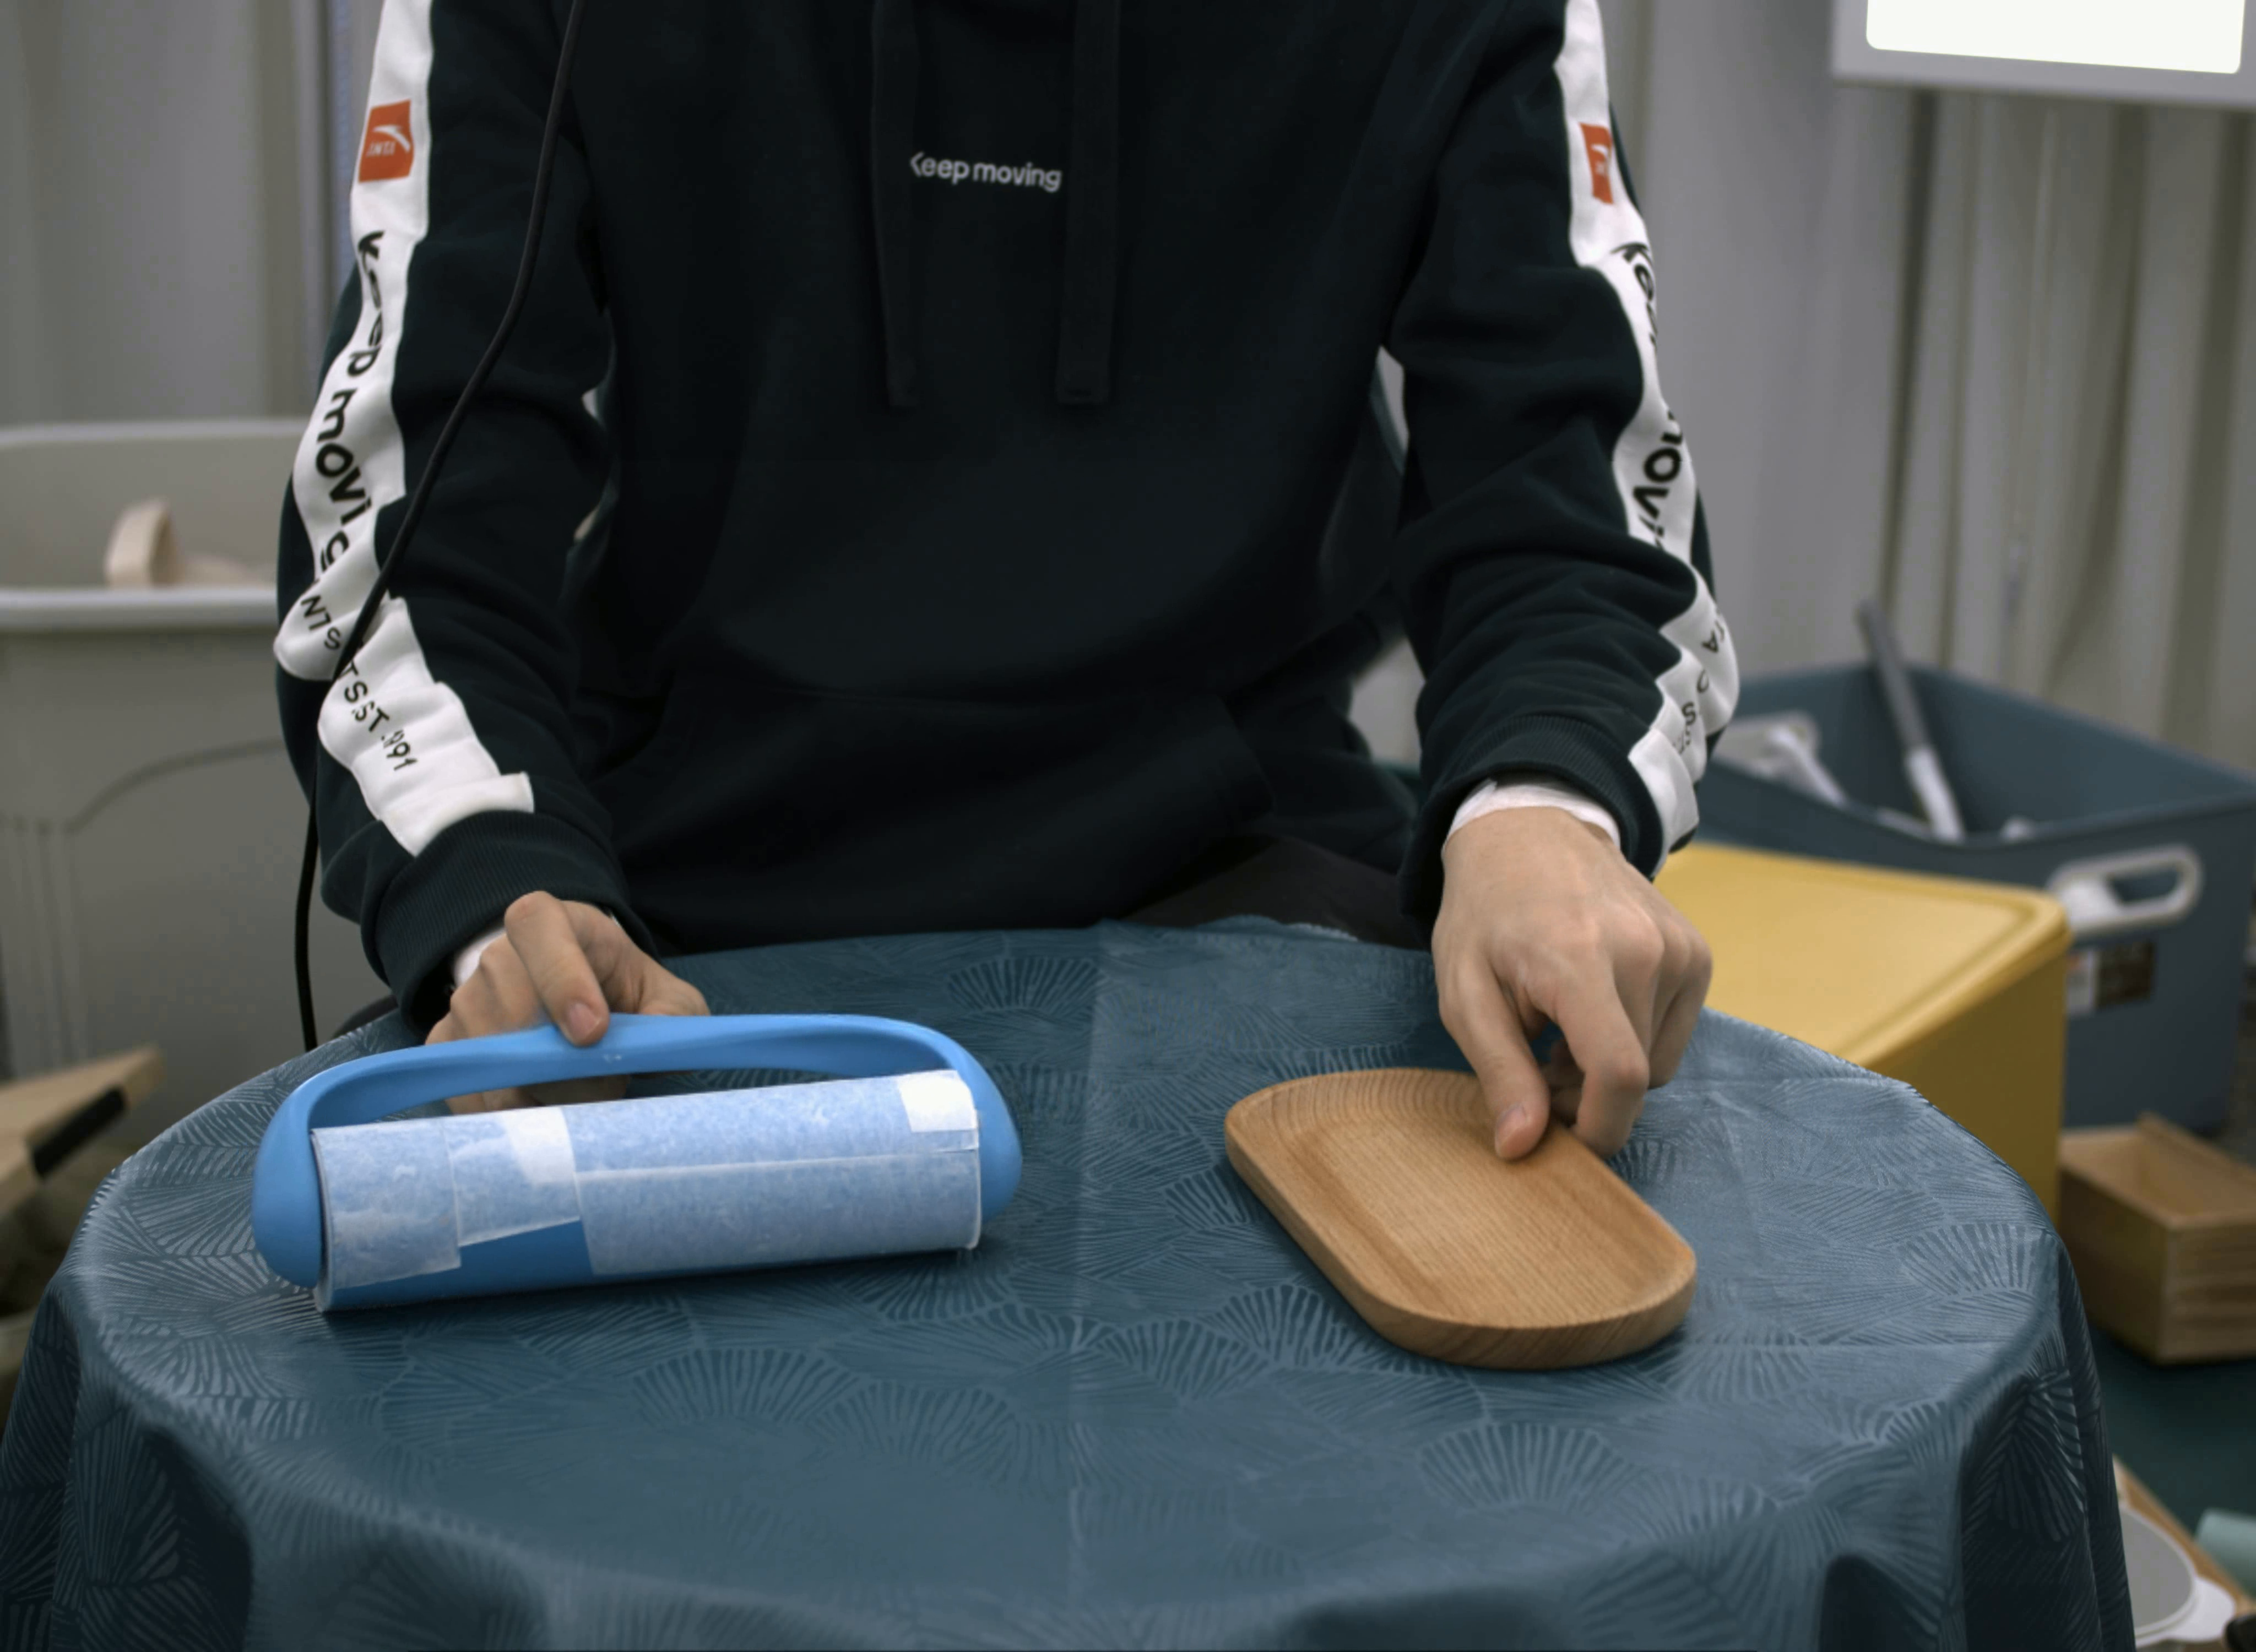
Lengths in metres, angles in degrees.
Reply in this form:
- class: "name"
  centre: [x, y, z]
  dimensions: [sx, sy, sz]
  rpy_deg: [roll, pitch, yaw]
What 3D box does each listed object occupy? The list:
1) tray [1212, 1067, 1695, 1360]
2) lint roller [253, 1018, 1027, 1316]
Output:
- class: "tray"
  centre: [0.095, 0.114, 1.581]
  dimensions: [0.102, 0.020, 0.229]
  rpy_deg: [-6, 15, -15]
- class: "lint roller"
  centre: [-0.160, 0.089, 1.588]
  dimensions: [0.229, 0.068, 0.178]
  rpy_deg: [-6, 18, -19]
